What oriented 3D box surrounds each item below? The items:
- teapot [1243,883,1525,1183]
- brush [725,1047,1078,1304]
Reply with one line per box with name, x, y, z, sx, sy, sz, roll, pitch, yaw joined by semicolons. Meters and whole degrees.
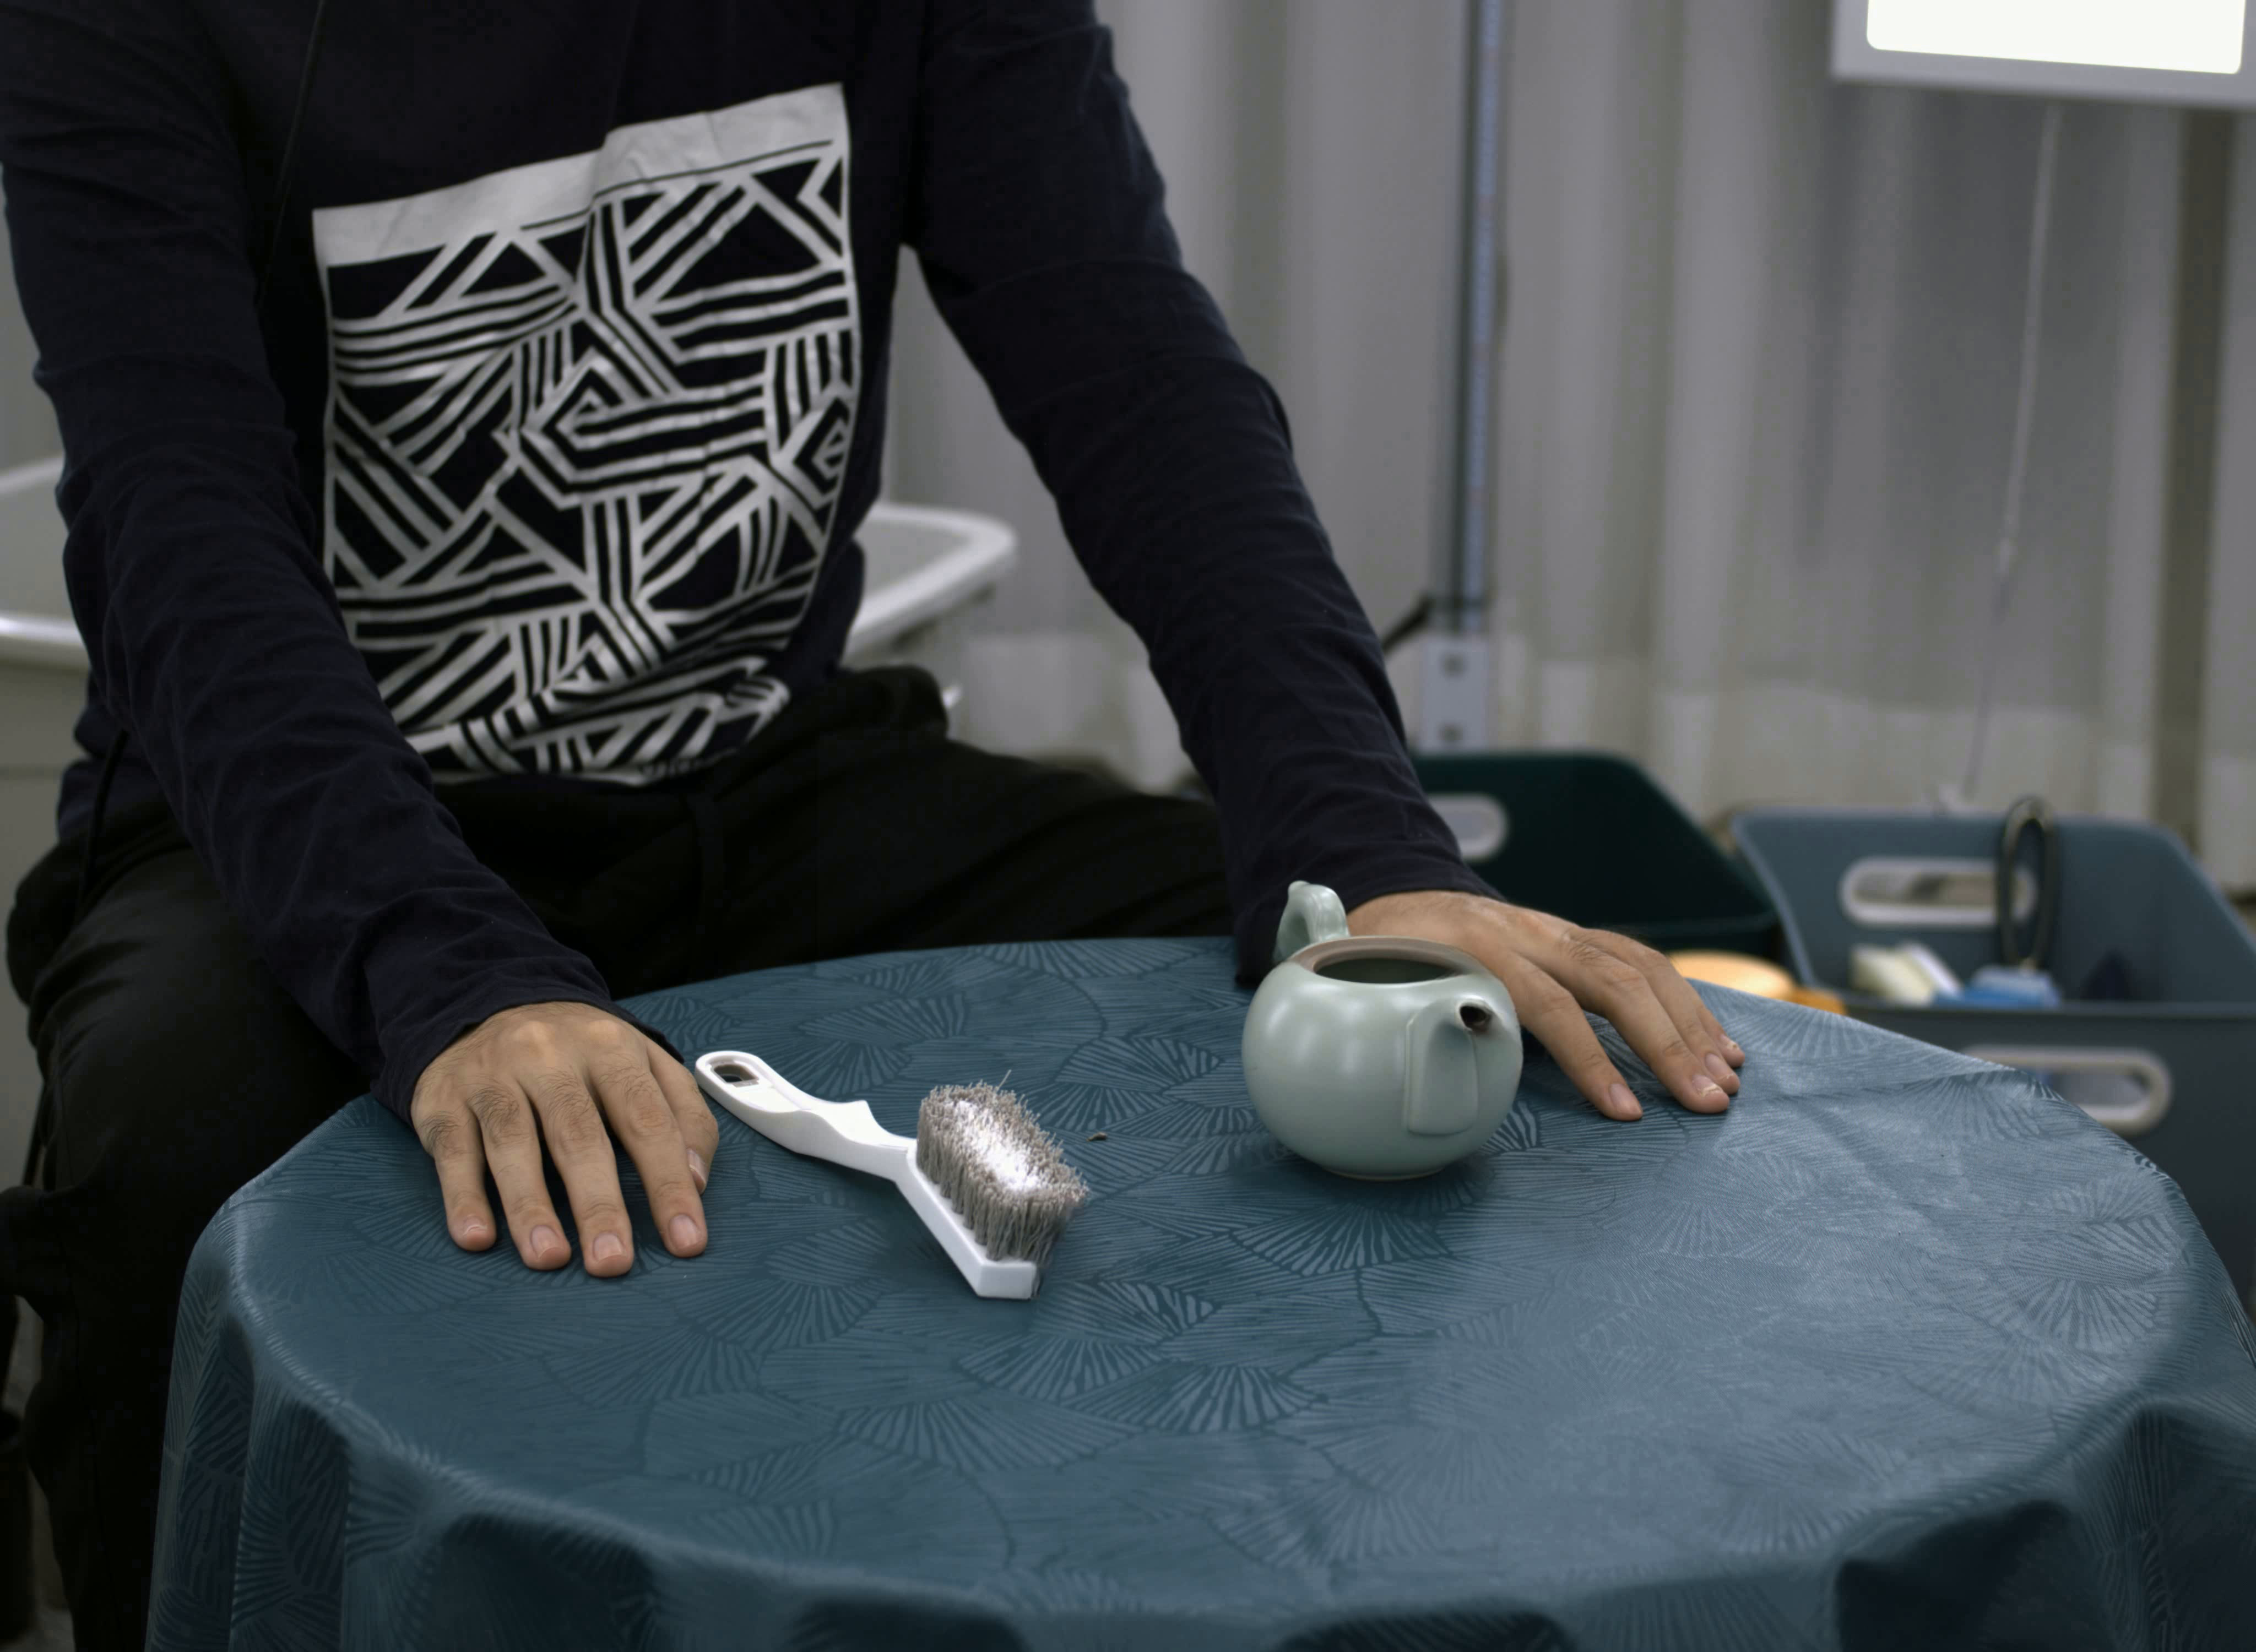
teapot;0.080;0.070;1.647;0.088;0.075;0.142;-6;18;-18
brush;-0.076;0.088;1.622;0.034;0.051;0.241;-12;19;-22
